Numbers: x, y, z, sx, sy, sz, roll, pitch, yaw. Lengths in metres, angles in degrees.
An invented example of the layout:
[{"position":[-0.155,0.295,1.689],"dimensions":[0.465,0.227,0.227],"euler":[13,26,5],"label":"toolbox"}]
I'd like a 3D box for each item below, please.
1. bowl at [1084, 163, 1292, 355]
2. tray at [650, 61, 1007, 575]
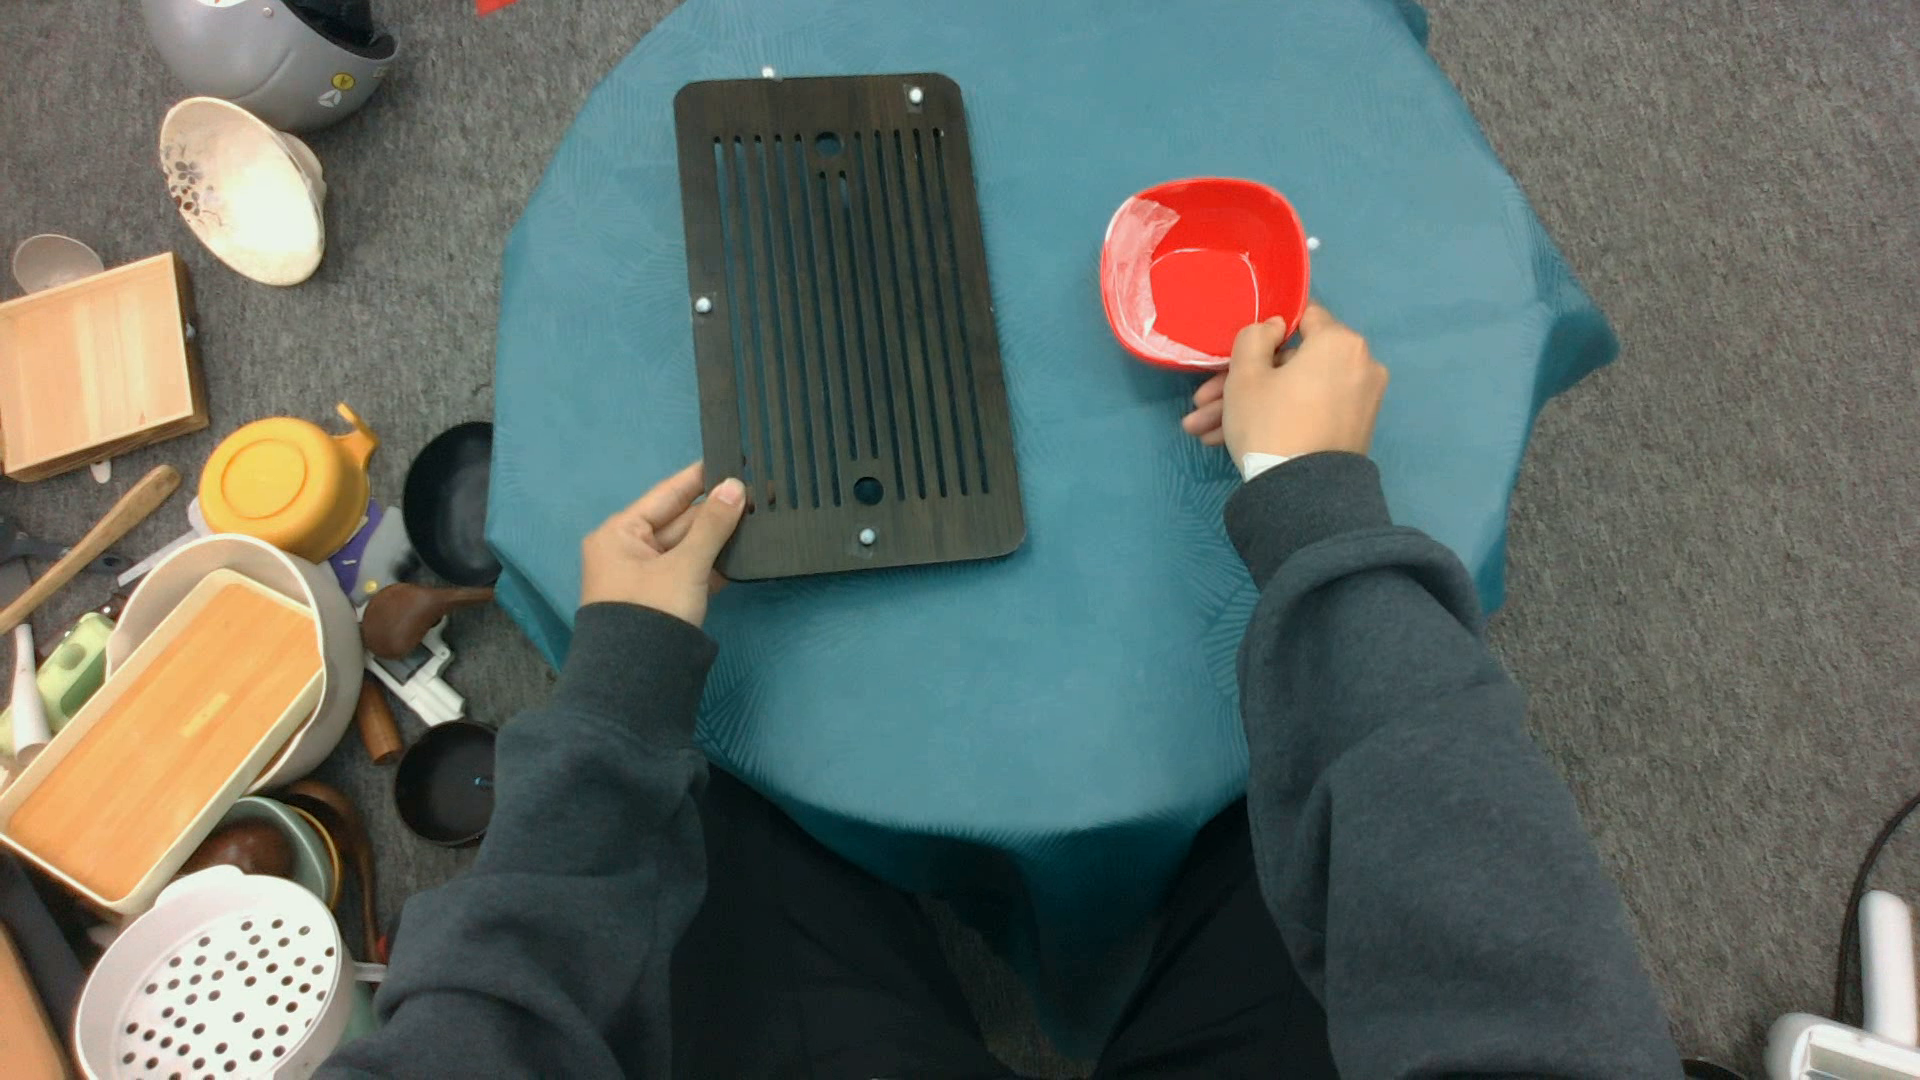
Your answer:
[{"position":[0.124,-0.146,0.759],"dimensions":[0.119,0.051,0.119],"euler":[-2,72,5],"label":"bowl"},{"position":[-0.078,-0.133,0.776],"dimensions":[0.170,0.018,0.306],"euler":[-6,73,-8],"label":"tray"}]
